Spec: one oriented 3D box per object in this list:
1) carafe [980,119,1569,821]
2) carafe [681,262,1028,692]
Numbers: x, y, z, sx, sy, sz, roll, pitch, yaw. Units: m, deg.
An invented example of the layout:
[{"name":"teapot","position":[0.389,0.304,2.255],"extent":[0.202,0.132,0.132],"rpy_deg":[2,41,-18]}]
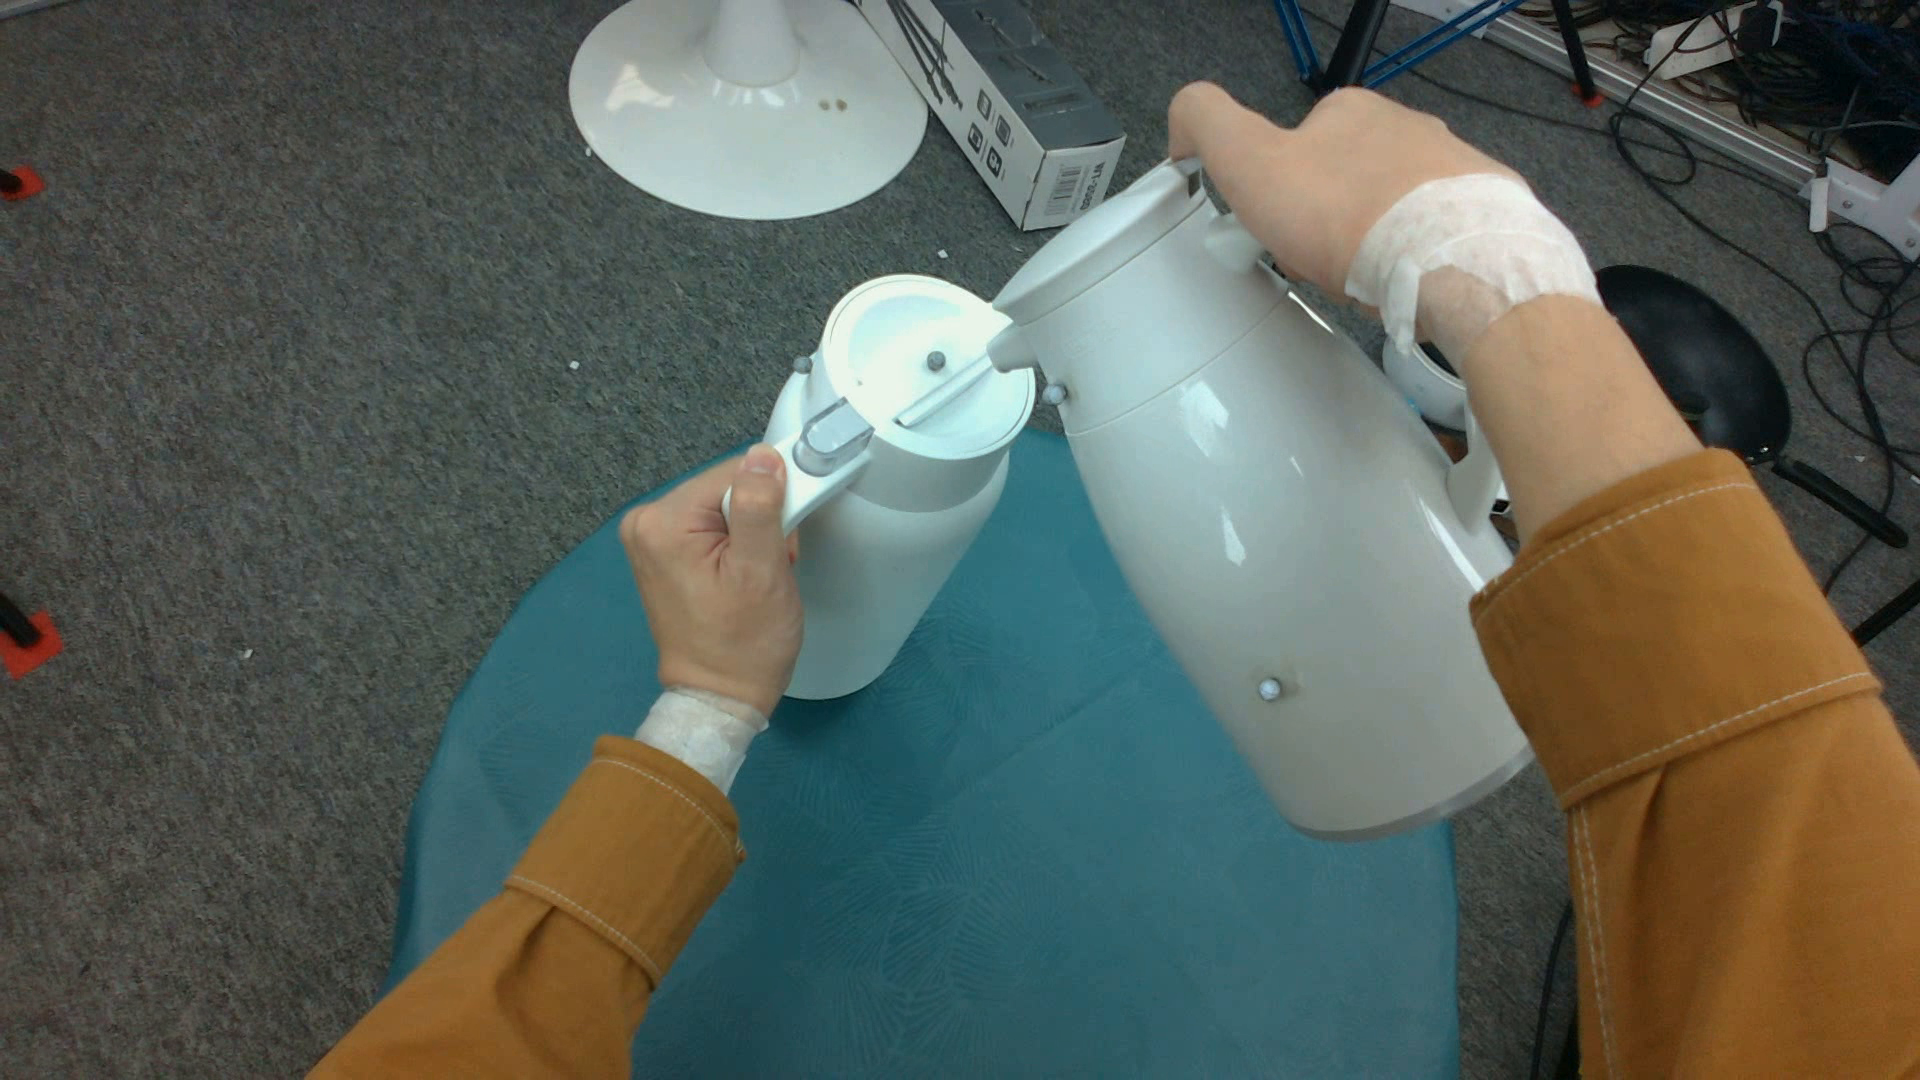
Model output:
[{"name":"carafe","position":[0.128,-0.035,0.527],"extent":[0.248,0.167,0.133],"rpy_deg":[55,36,-11]},{"name":"carafe","position":[-0.067,-0.012,0.702],"extent":[0.124,0.267,0.173],"rpy_deg":[46,57,6]}]
